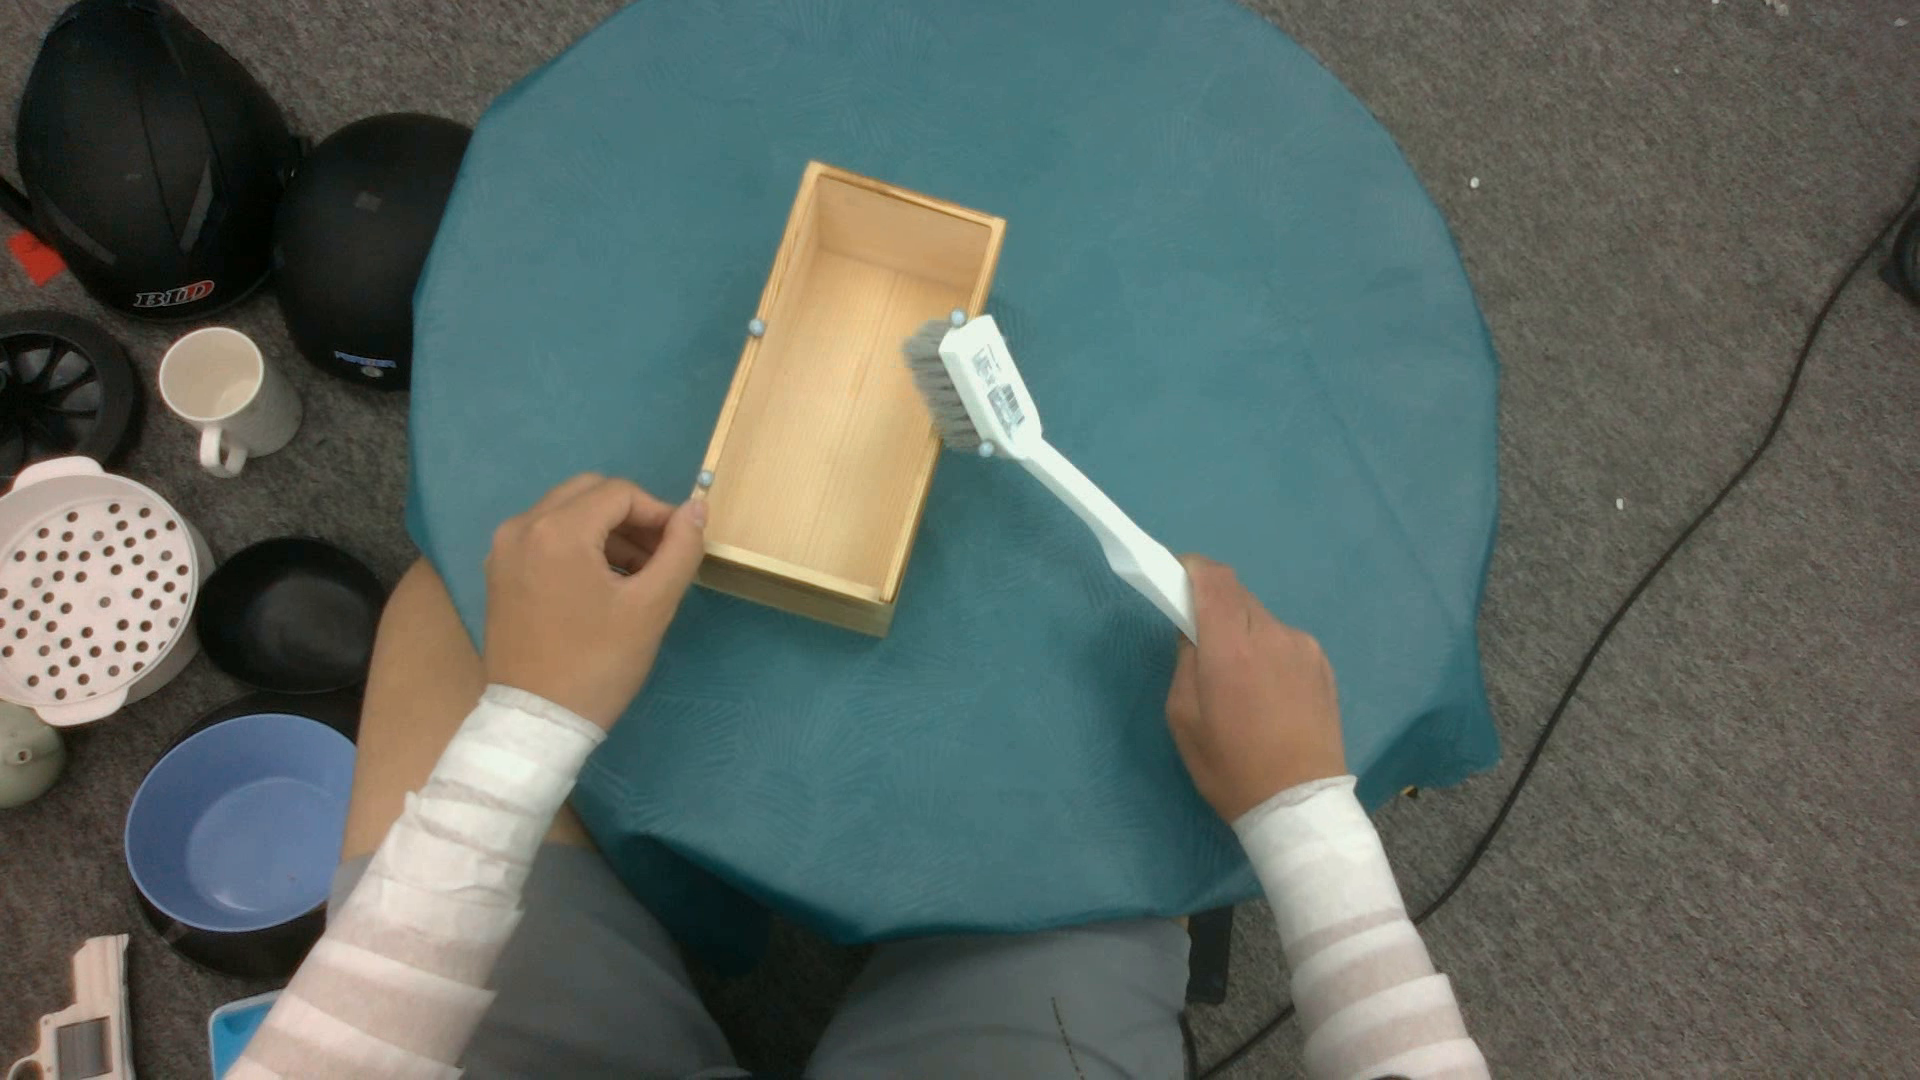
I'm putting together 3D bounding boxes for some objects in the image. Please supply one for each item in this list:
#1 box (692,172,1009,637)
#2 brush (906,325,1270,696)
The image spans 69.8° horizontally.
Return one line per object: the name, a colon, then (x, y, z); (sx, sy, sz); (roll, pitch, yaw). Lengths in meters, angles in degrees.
box: (-0.055, -0.070, 0.720); (0.107, 0.080, 0.212); (15, 73, -3)
brush: (0.063, -0.008, 0.678); (0.243, 0.050, 0.034); (48, 50, -14)
